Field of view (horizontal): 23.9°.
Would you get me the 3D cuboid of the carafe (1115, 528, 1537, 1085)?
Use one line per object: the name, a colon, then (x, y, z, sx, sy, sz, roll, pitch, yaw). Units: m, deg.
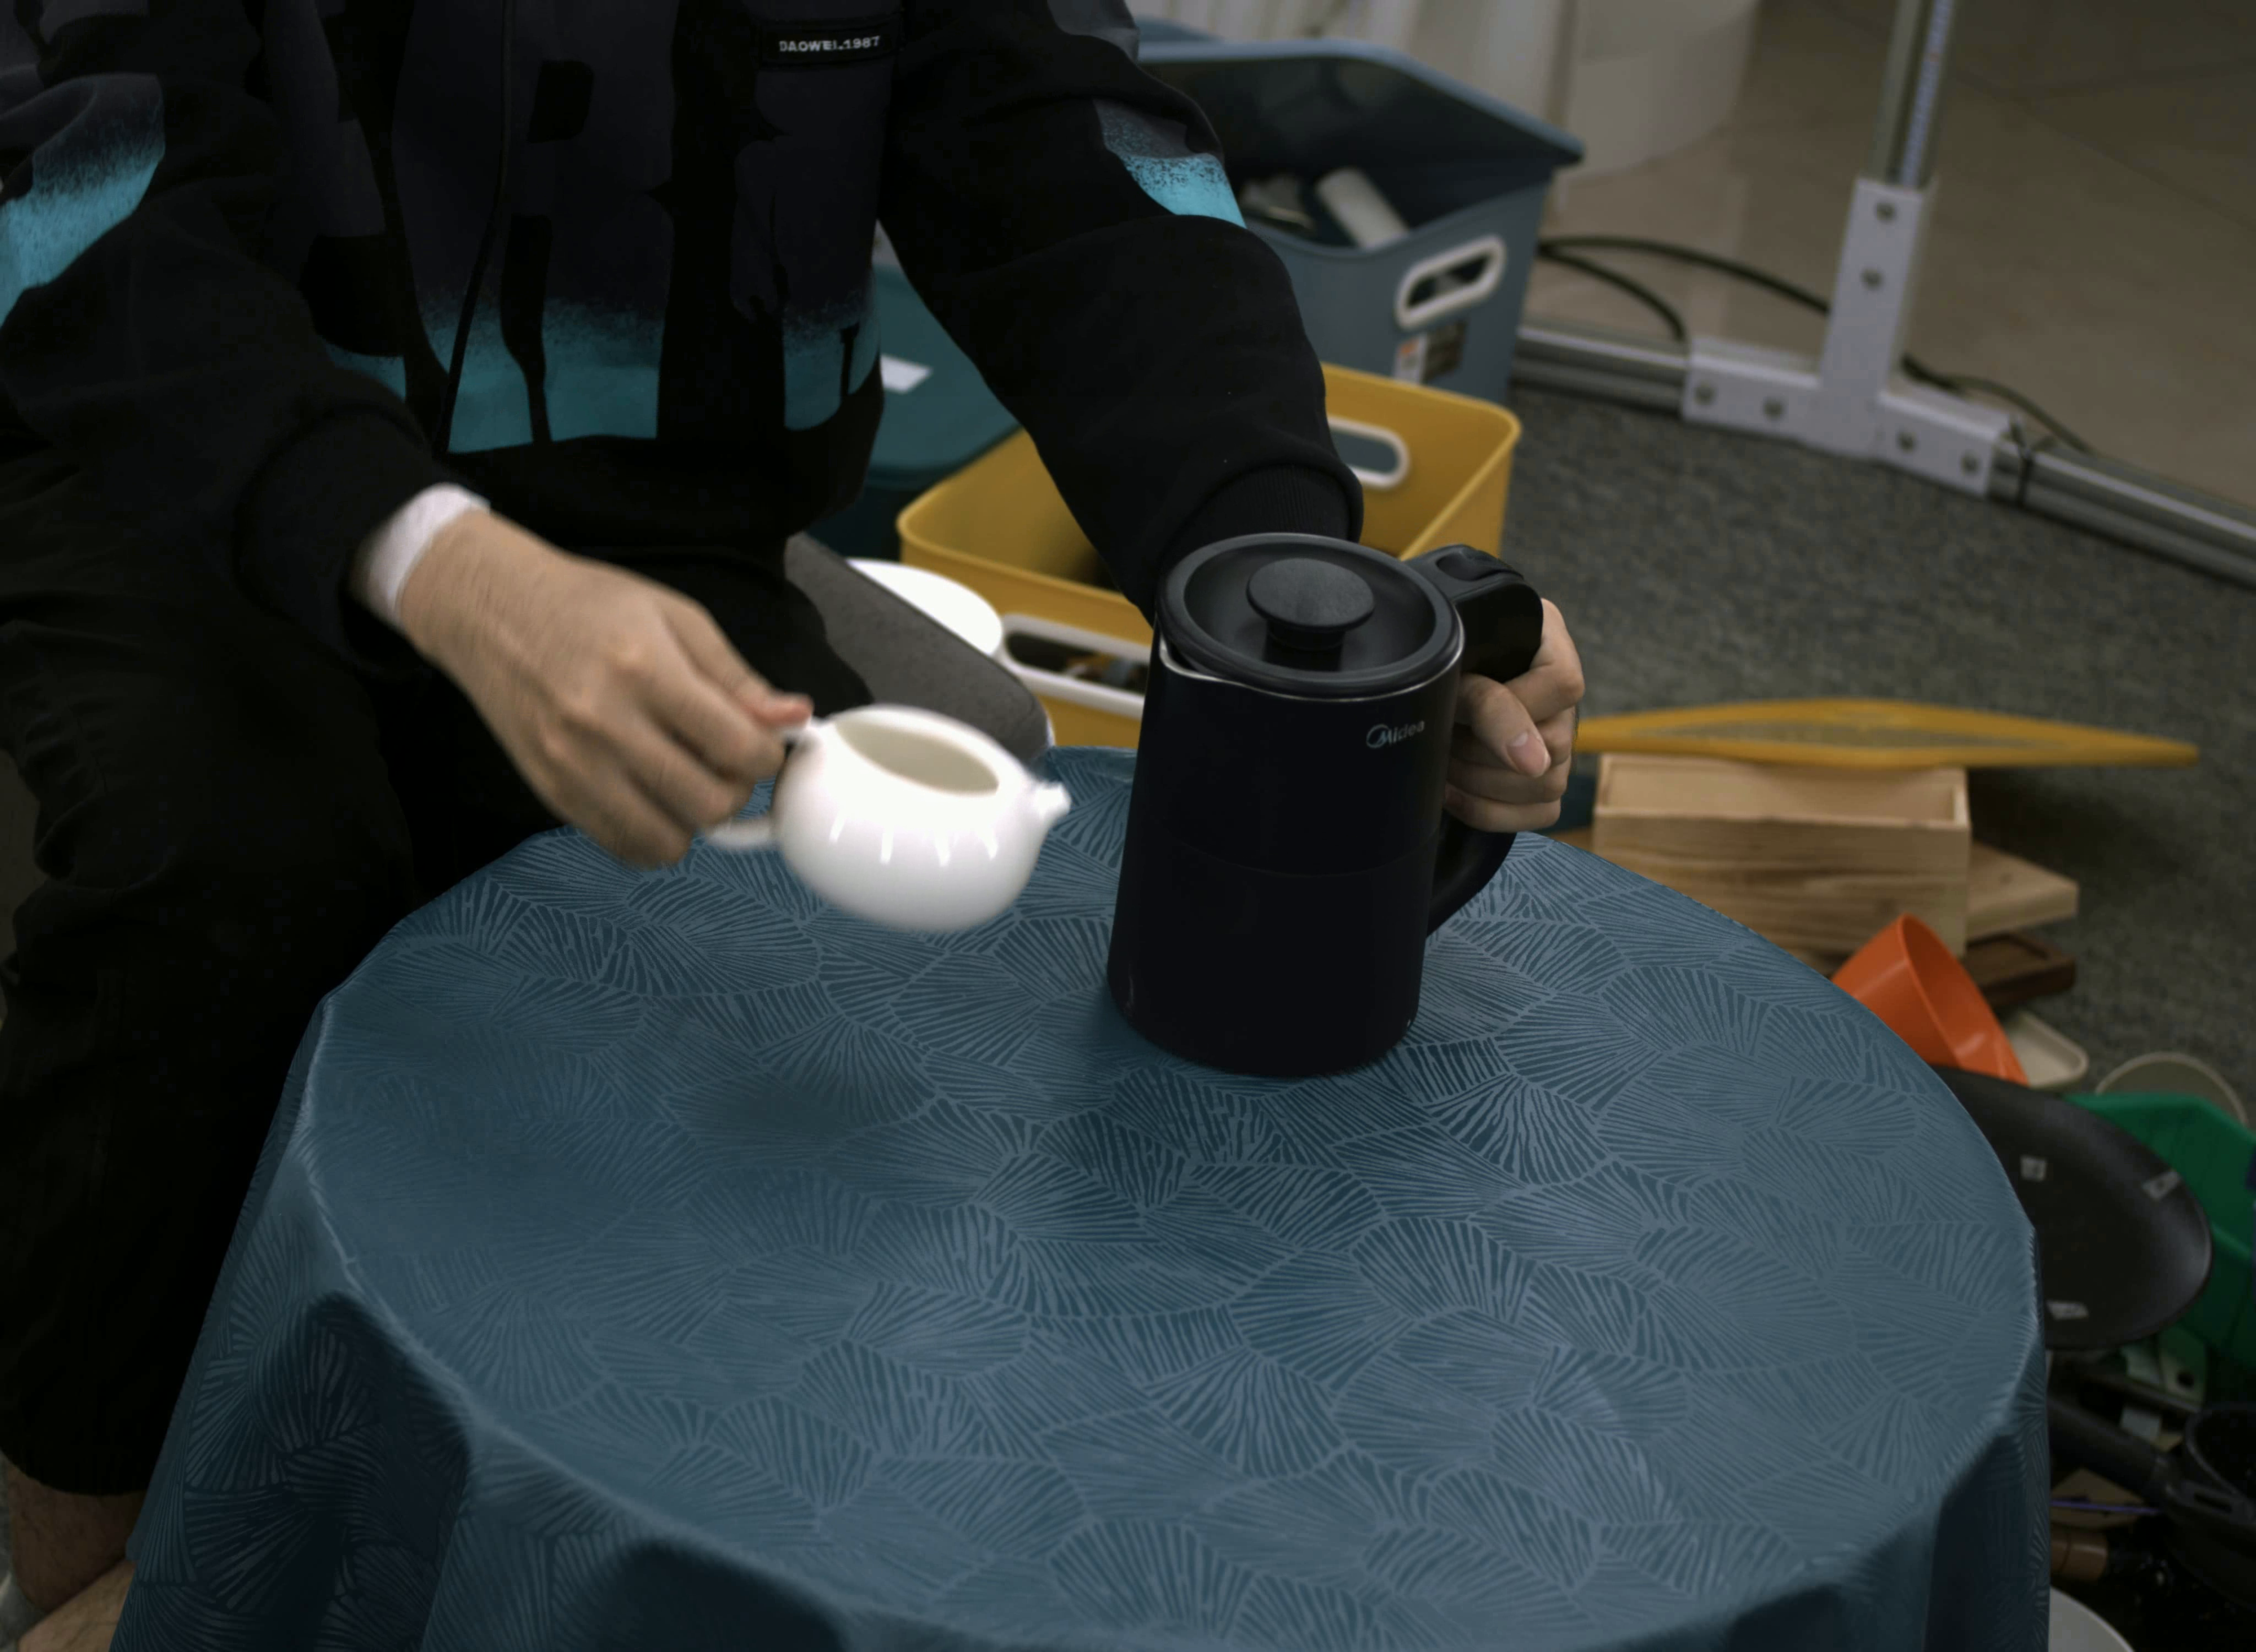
carafe: (0.073, -0.019, 1.892, 0.171, 0.172, 0.115, -22, 40, -34)

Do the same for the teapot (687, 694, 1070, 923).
teapot: (-0.086, -0.007, 1.801, 0.126, 0.056, 0.094, 11, 28, -16)
